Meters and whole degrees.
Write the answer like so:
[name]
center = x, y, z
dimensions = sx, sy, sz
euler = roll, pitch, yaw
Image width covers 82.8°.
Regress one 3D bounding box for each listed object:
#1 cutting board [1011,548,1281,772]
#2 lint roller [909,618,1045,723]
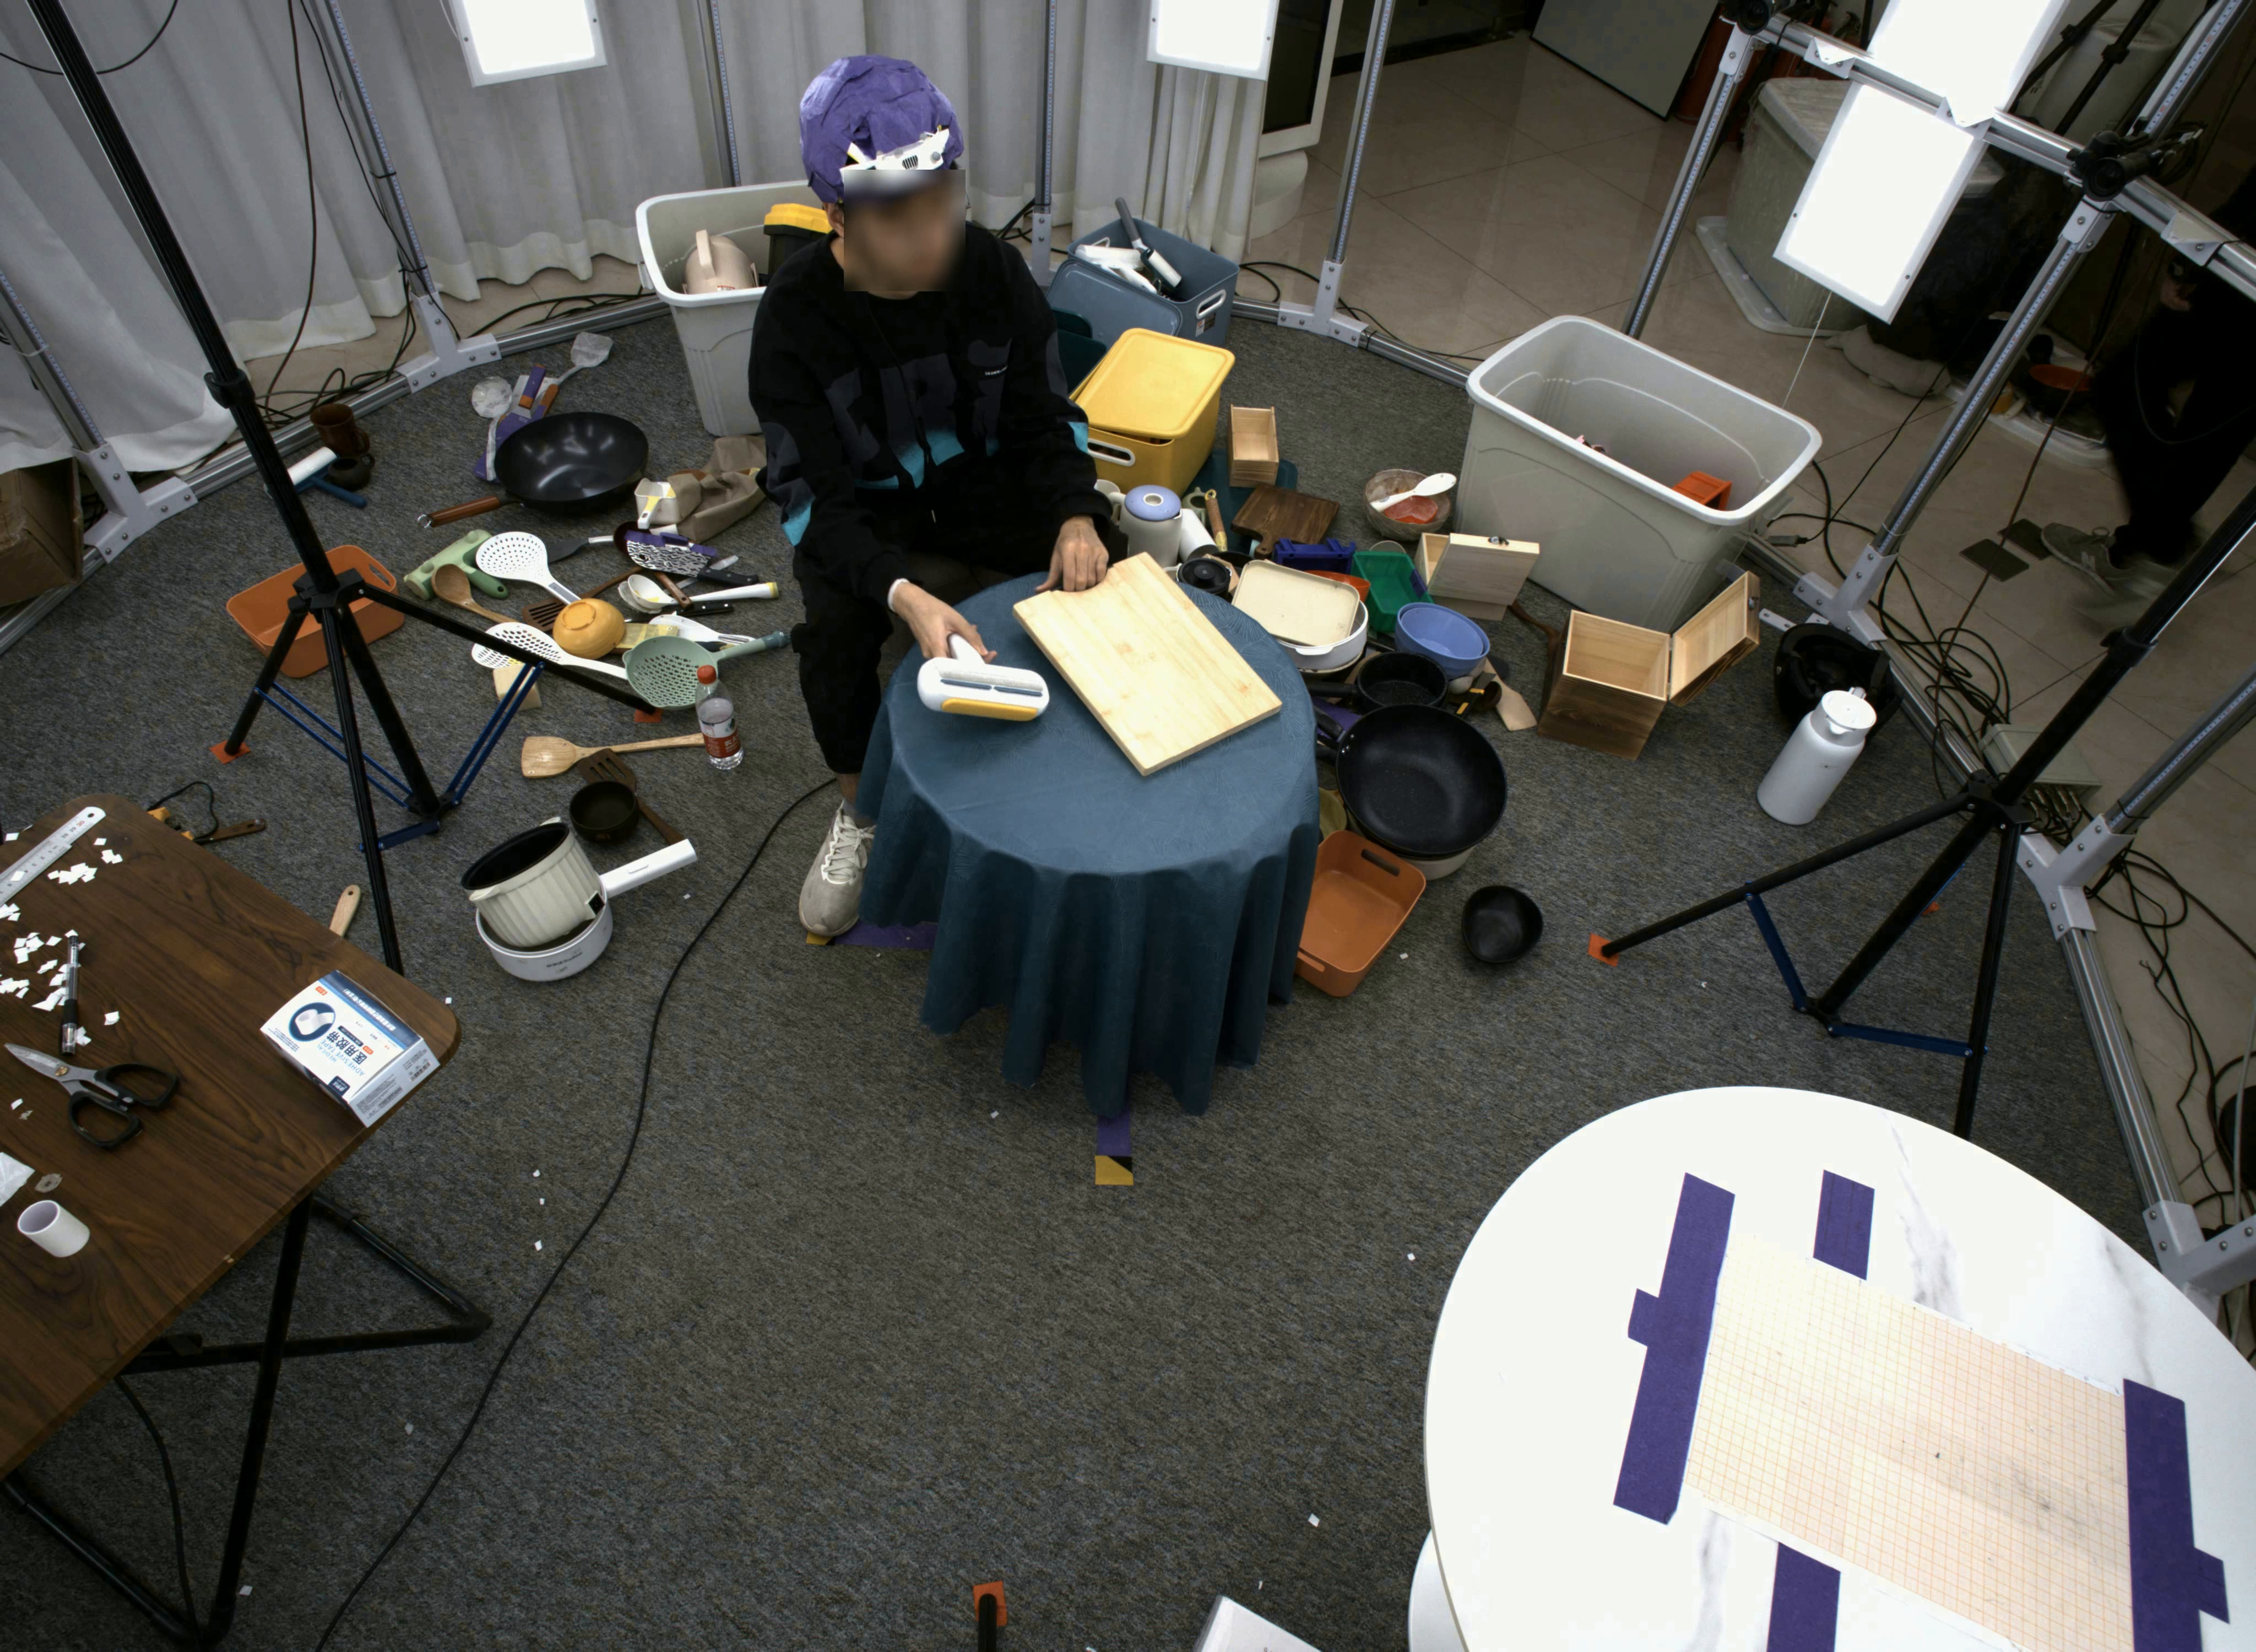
[cutting board]
center = 0.022, -0.246, 1.849
dimensions = 0.252, 0.023, 0.355
euler = -26, 62, -24
[lint roller]
center = -0.220, -0.226, 1.769
dimensions = 0.191, 0.073, 0.197
euler = 4, 51, -30
